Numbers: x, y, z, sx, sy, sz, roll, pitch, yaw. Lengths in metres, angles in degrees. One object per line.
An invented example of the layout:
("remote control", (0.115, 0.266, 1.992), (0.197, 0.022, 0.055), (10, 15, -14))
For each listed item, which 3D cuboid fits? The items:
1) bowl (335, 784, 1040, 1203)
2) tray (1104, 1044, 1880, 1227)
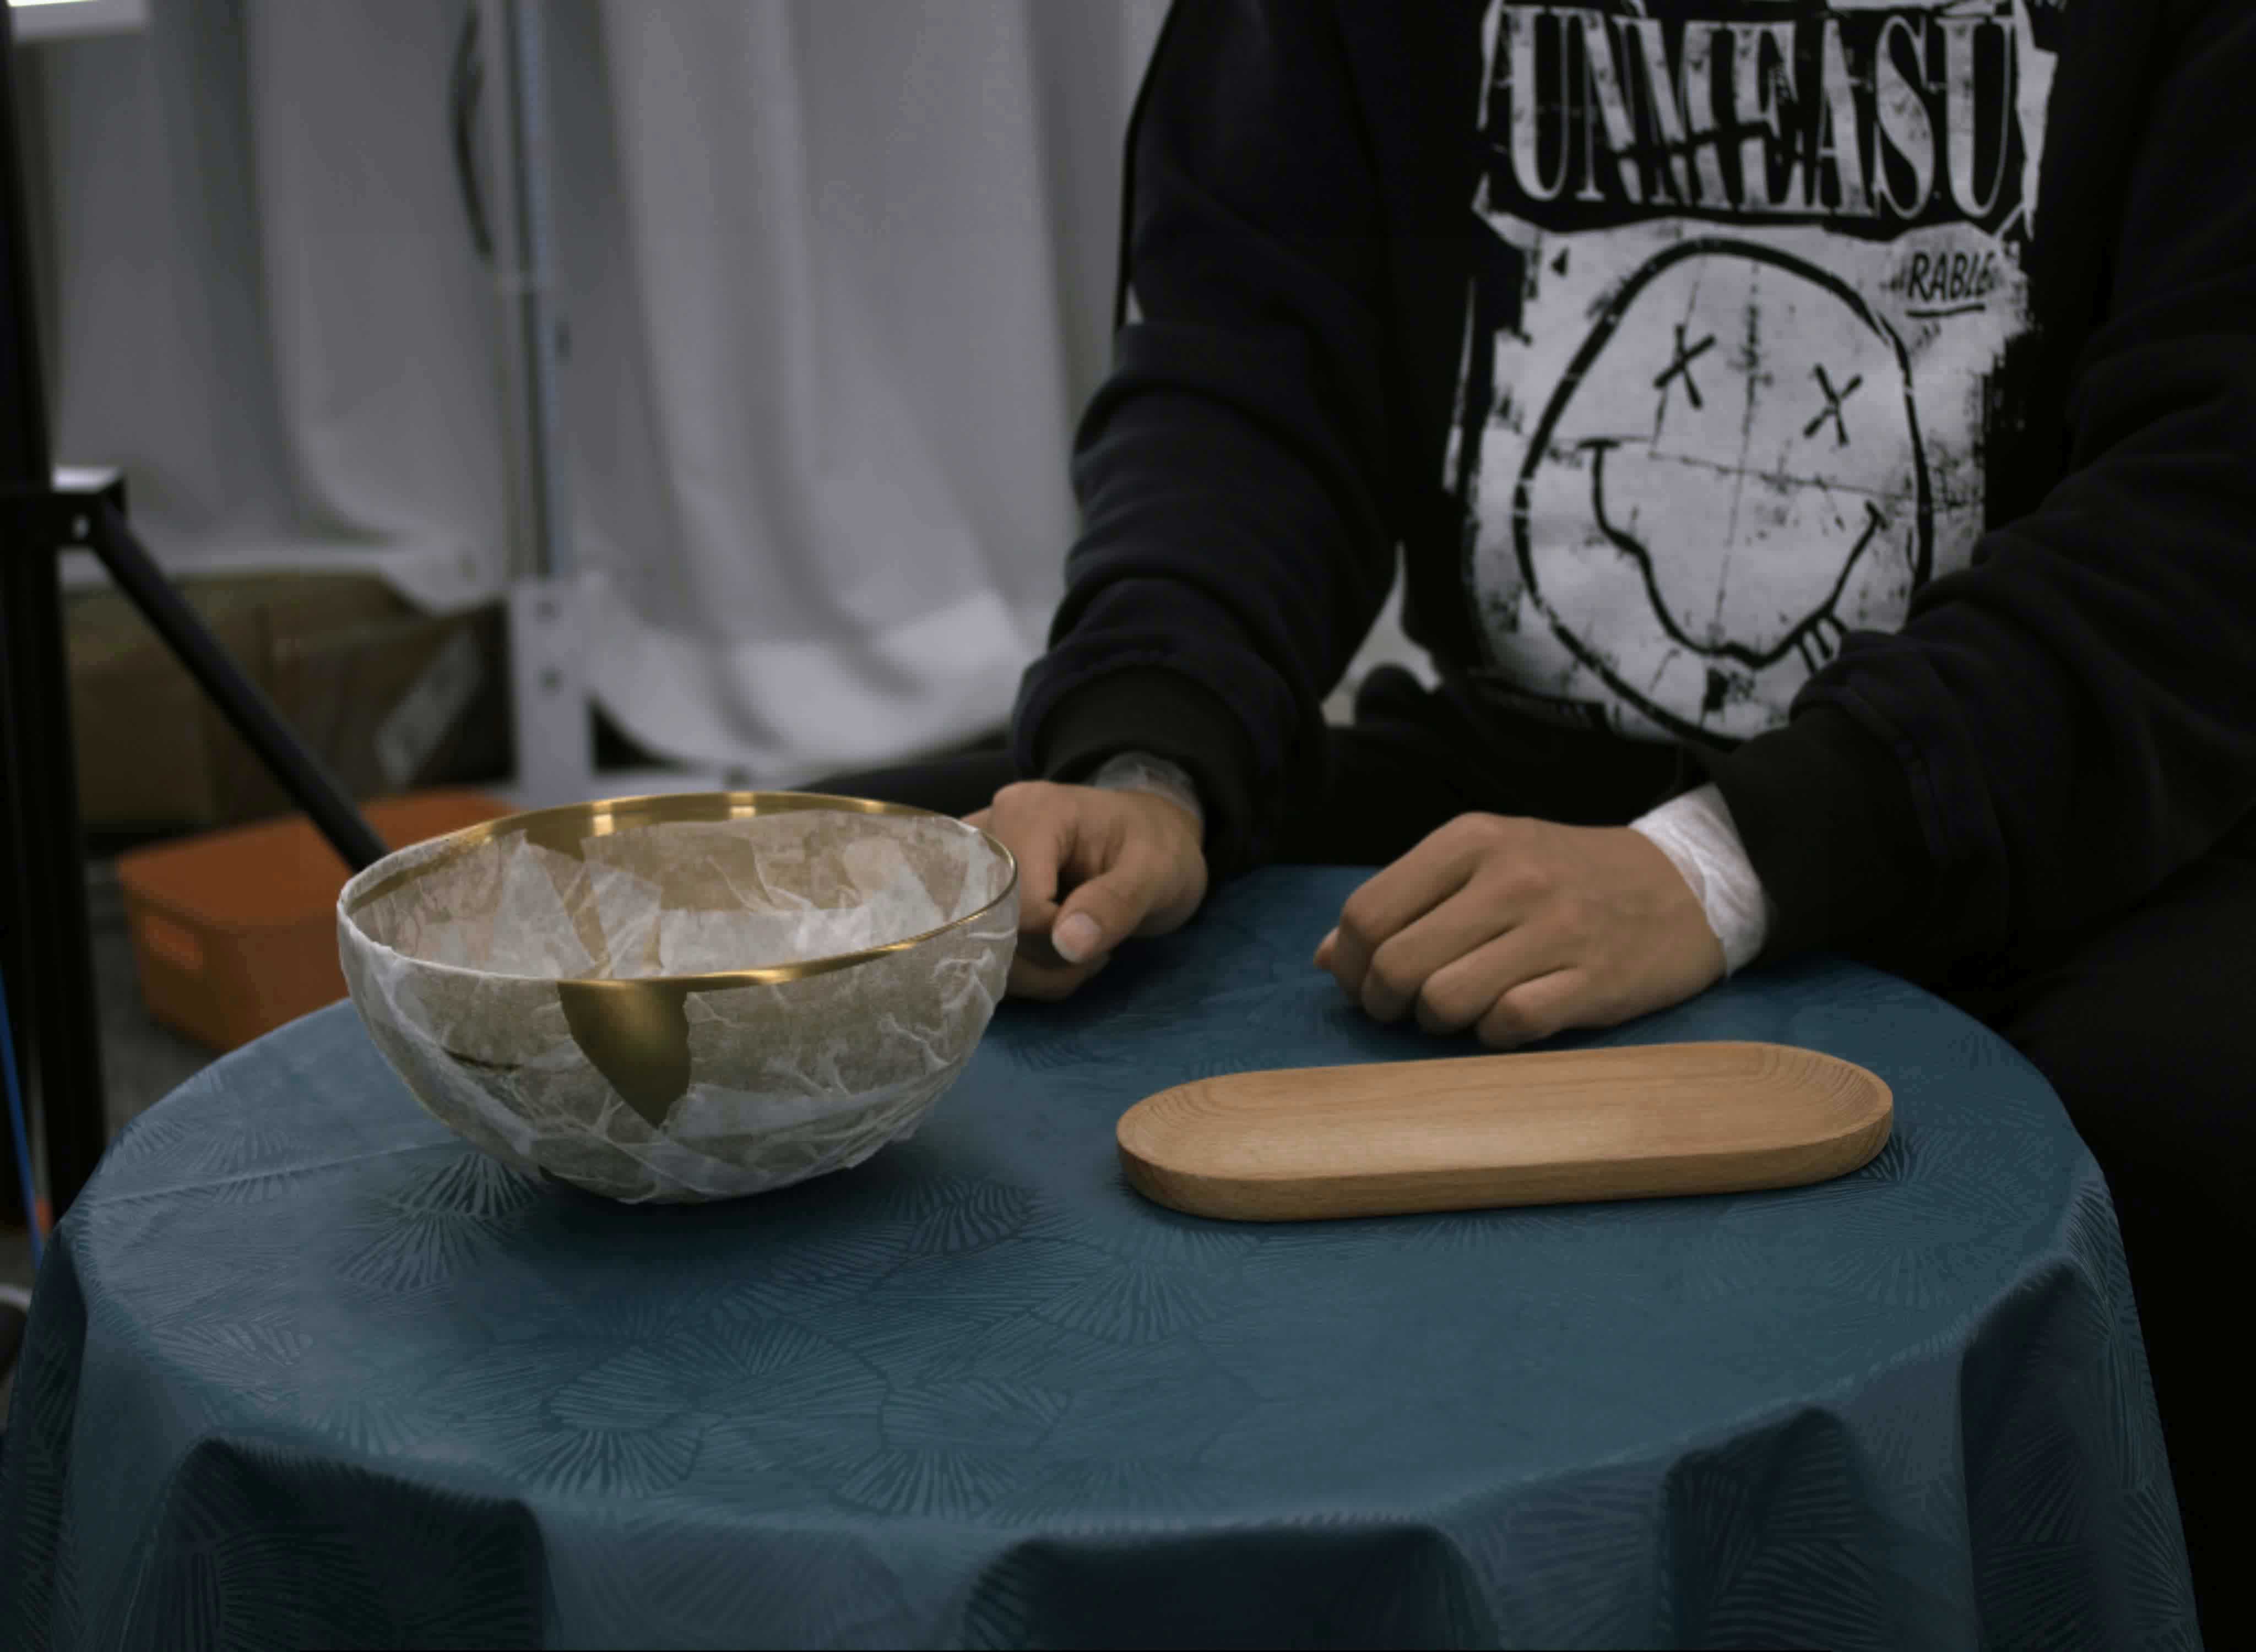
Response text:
("bowl", (-0.127, 0.058, 1.586), (0.213, 0.094, 0.216), (-3, 14, -1))
("tray", (0.108, 0.092, 1.568), (0.229, 0.020, 0.102), (-6, 14, -3))
